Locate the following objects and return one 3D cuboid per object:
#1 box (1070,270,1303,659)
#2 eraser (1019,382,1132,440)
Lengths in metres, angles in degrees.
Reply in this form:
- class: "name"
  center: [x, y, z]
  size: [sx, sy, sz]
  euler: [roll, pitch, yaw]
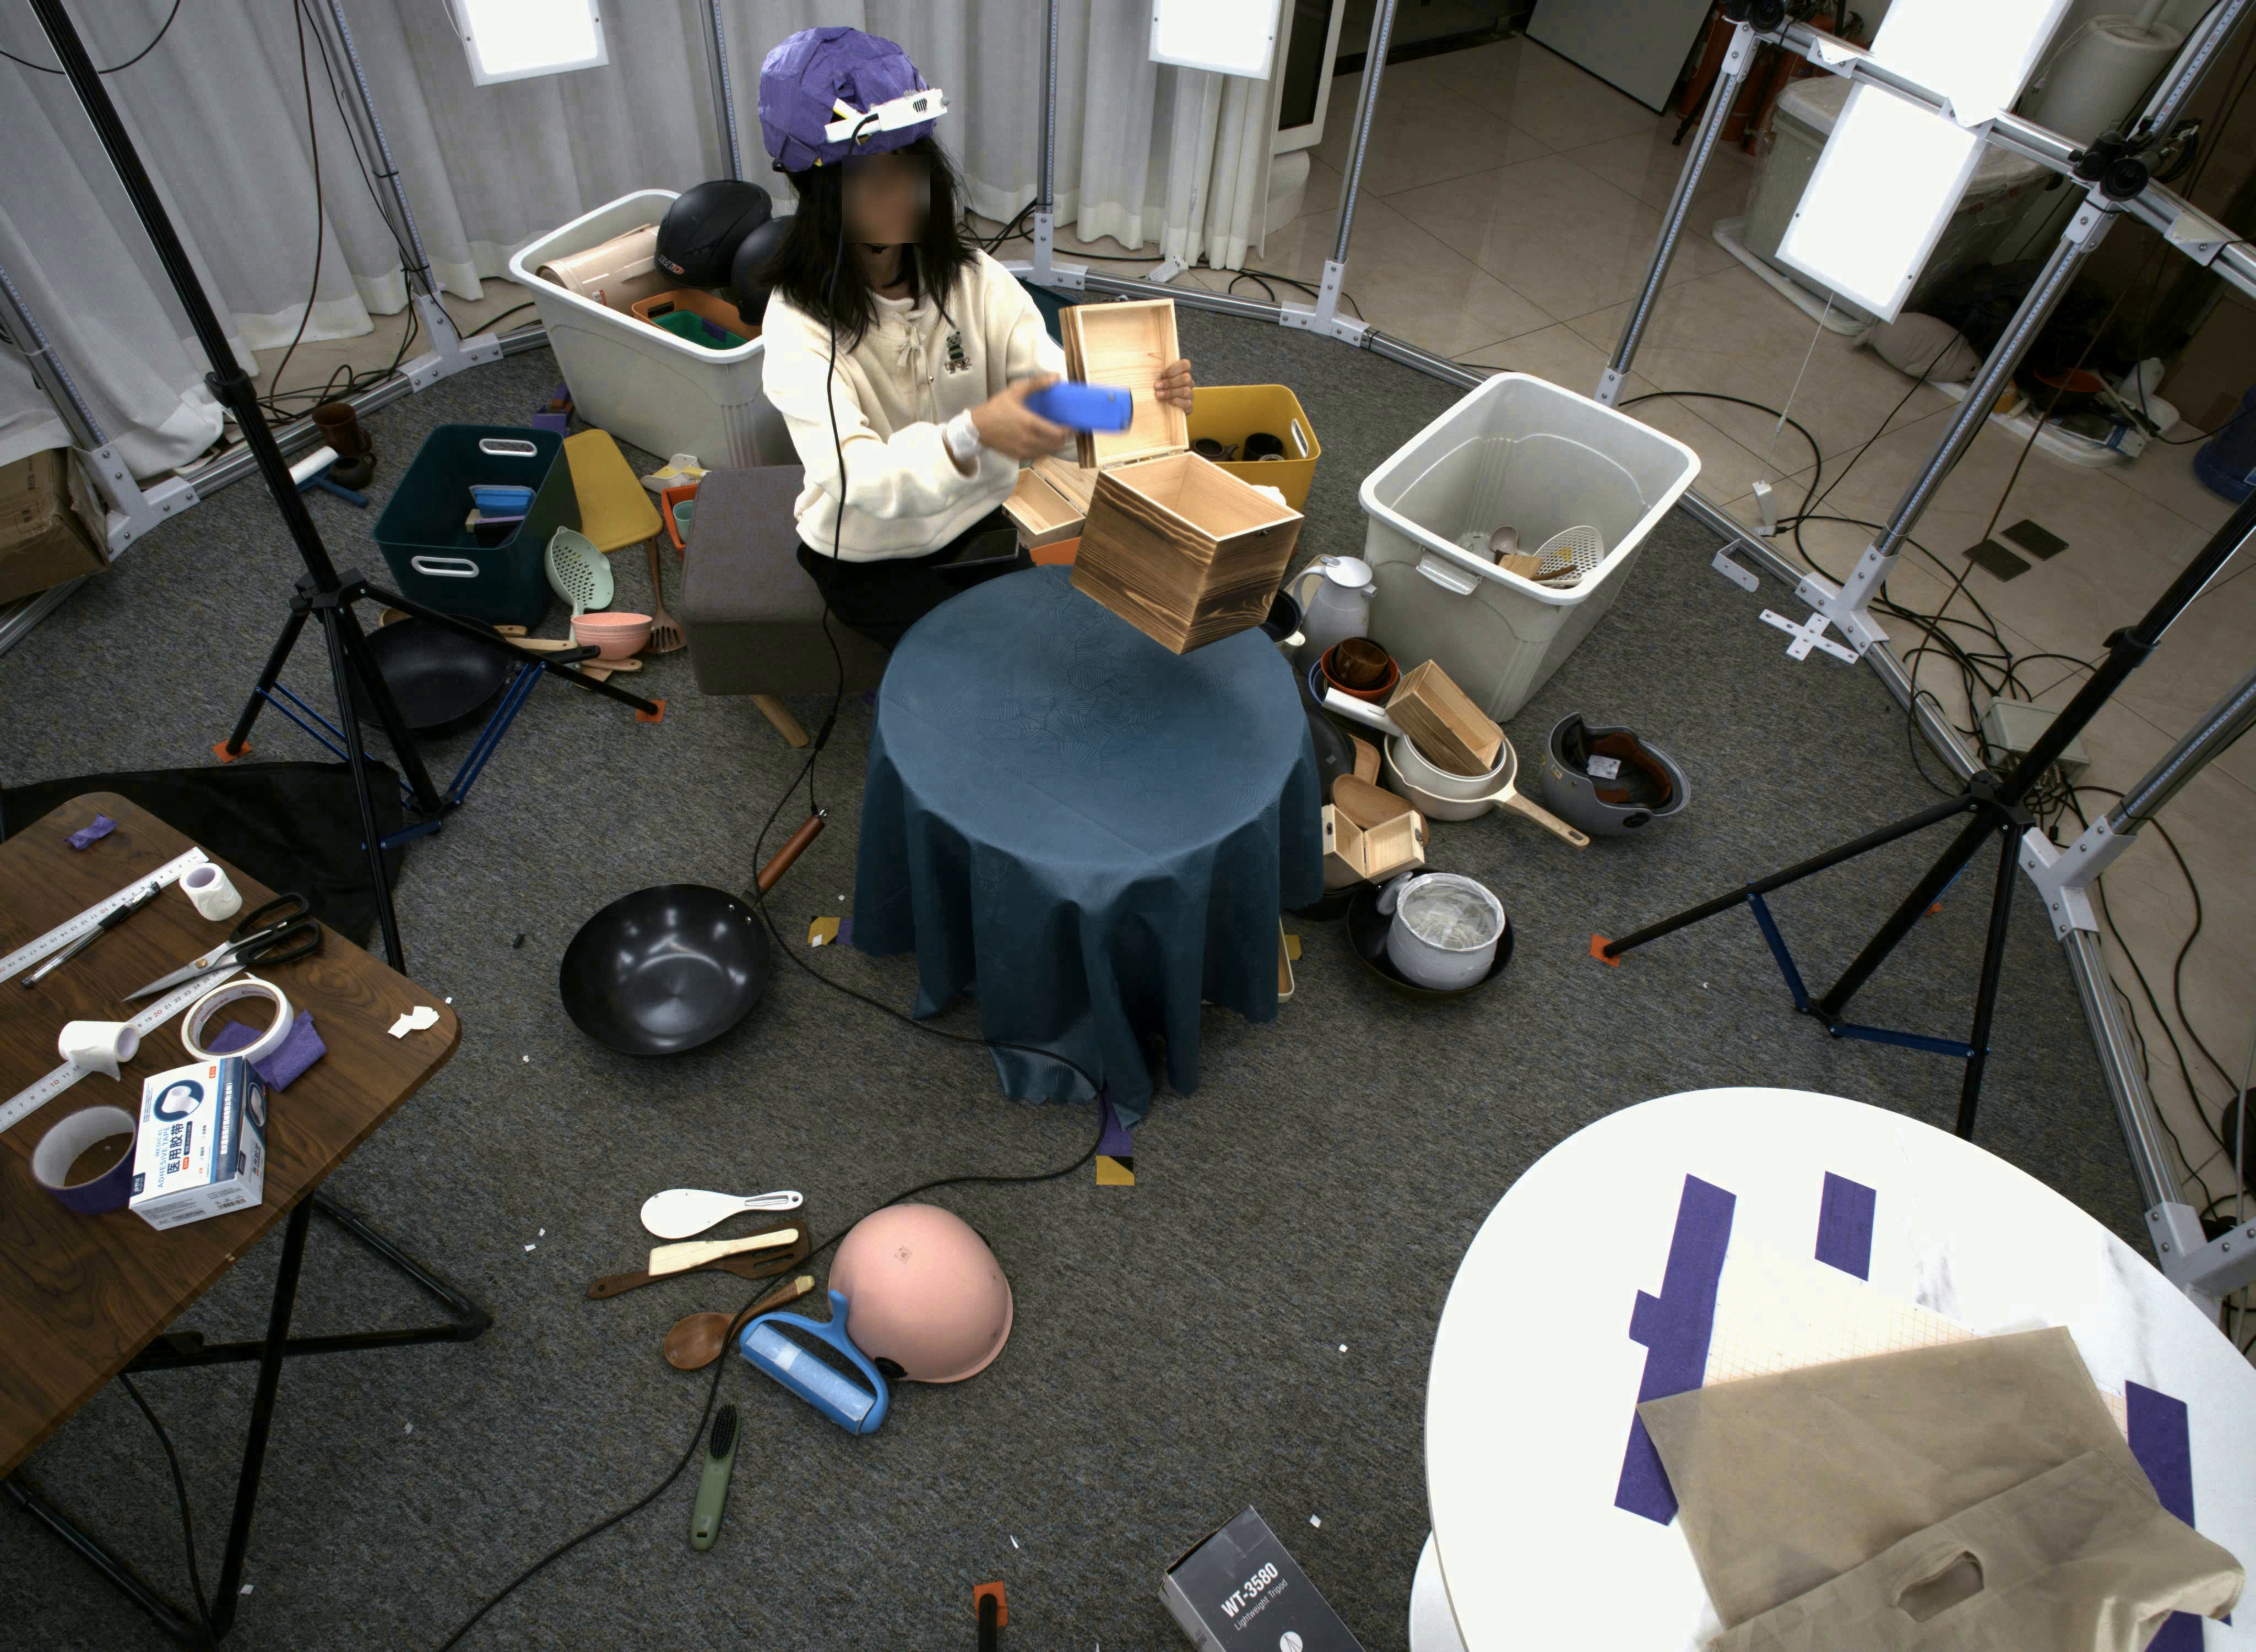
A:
- class: "box"
  center: [0.062, -0.472, 1.702]
  size: [0.326, 0.368, 0.210]
  euler: [36, 38, 25]
- class: "eraser"
  center: [-0.070, -0.521, 1.628]
  size: [0.164, 0.053, 0.048]
  euler: [19, 26, 32]
